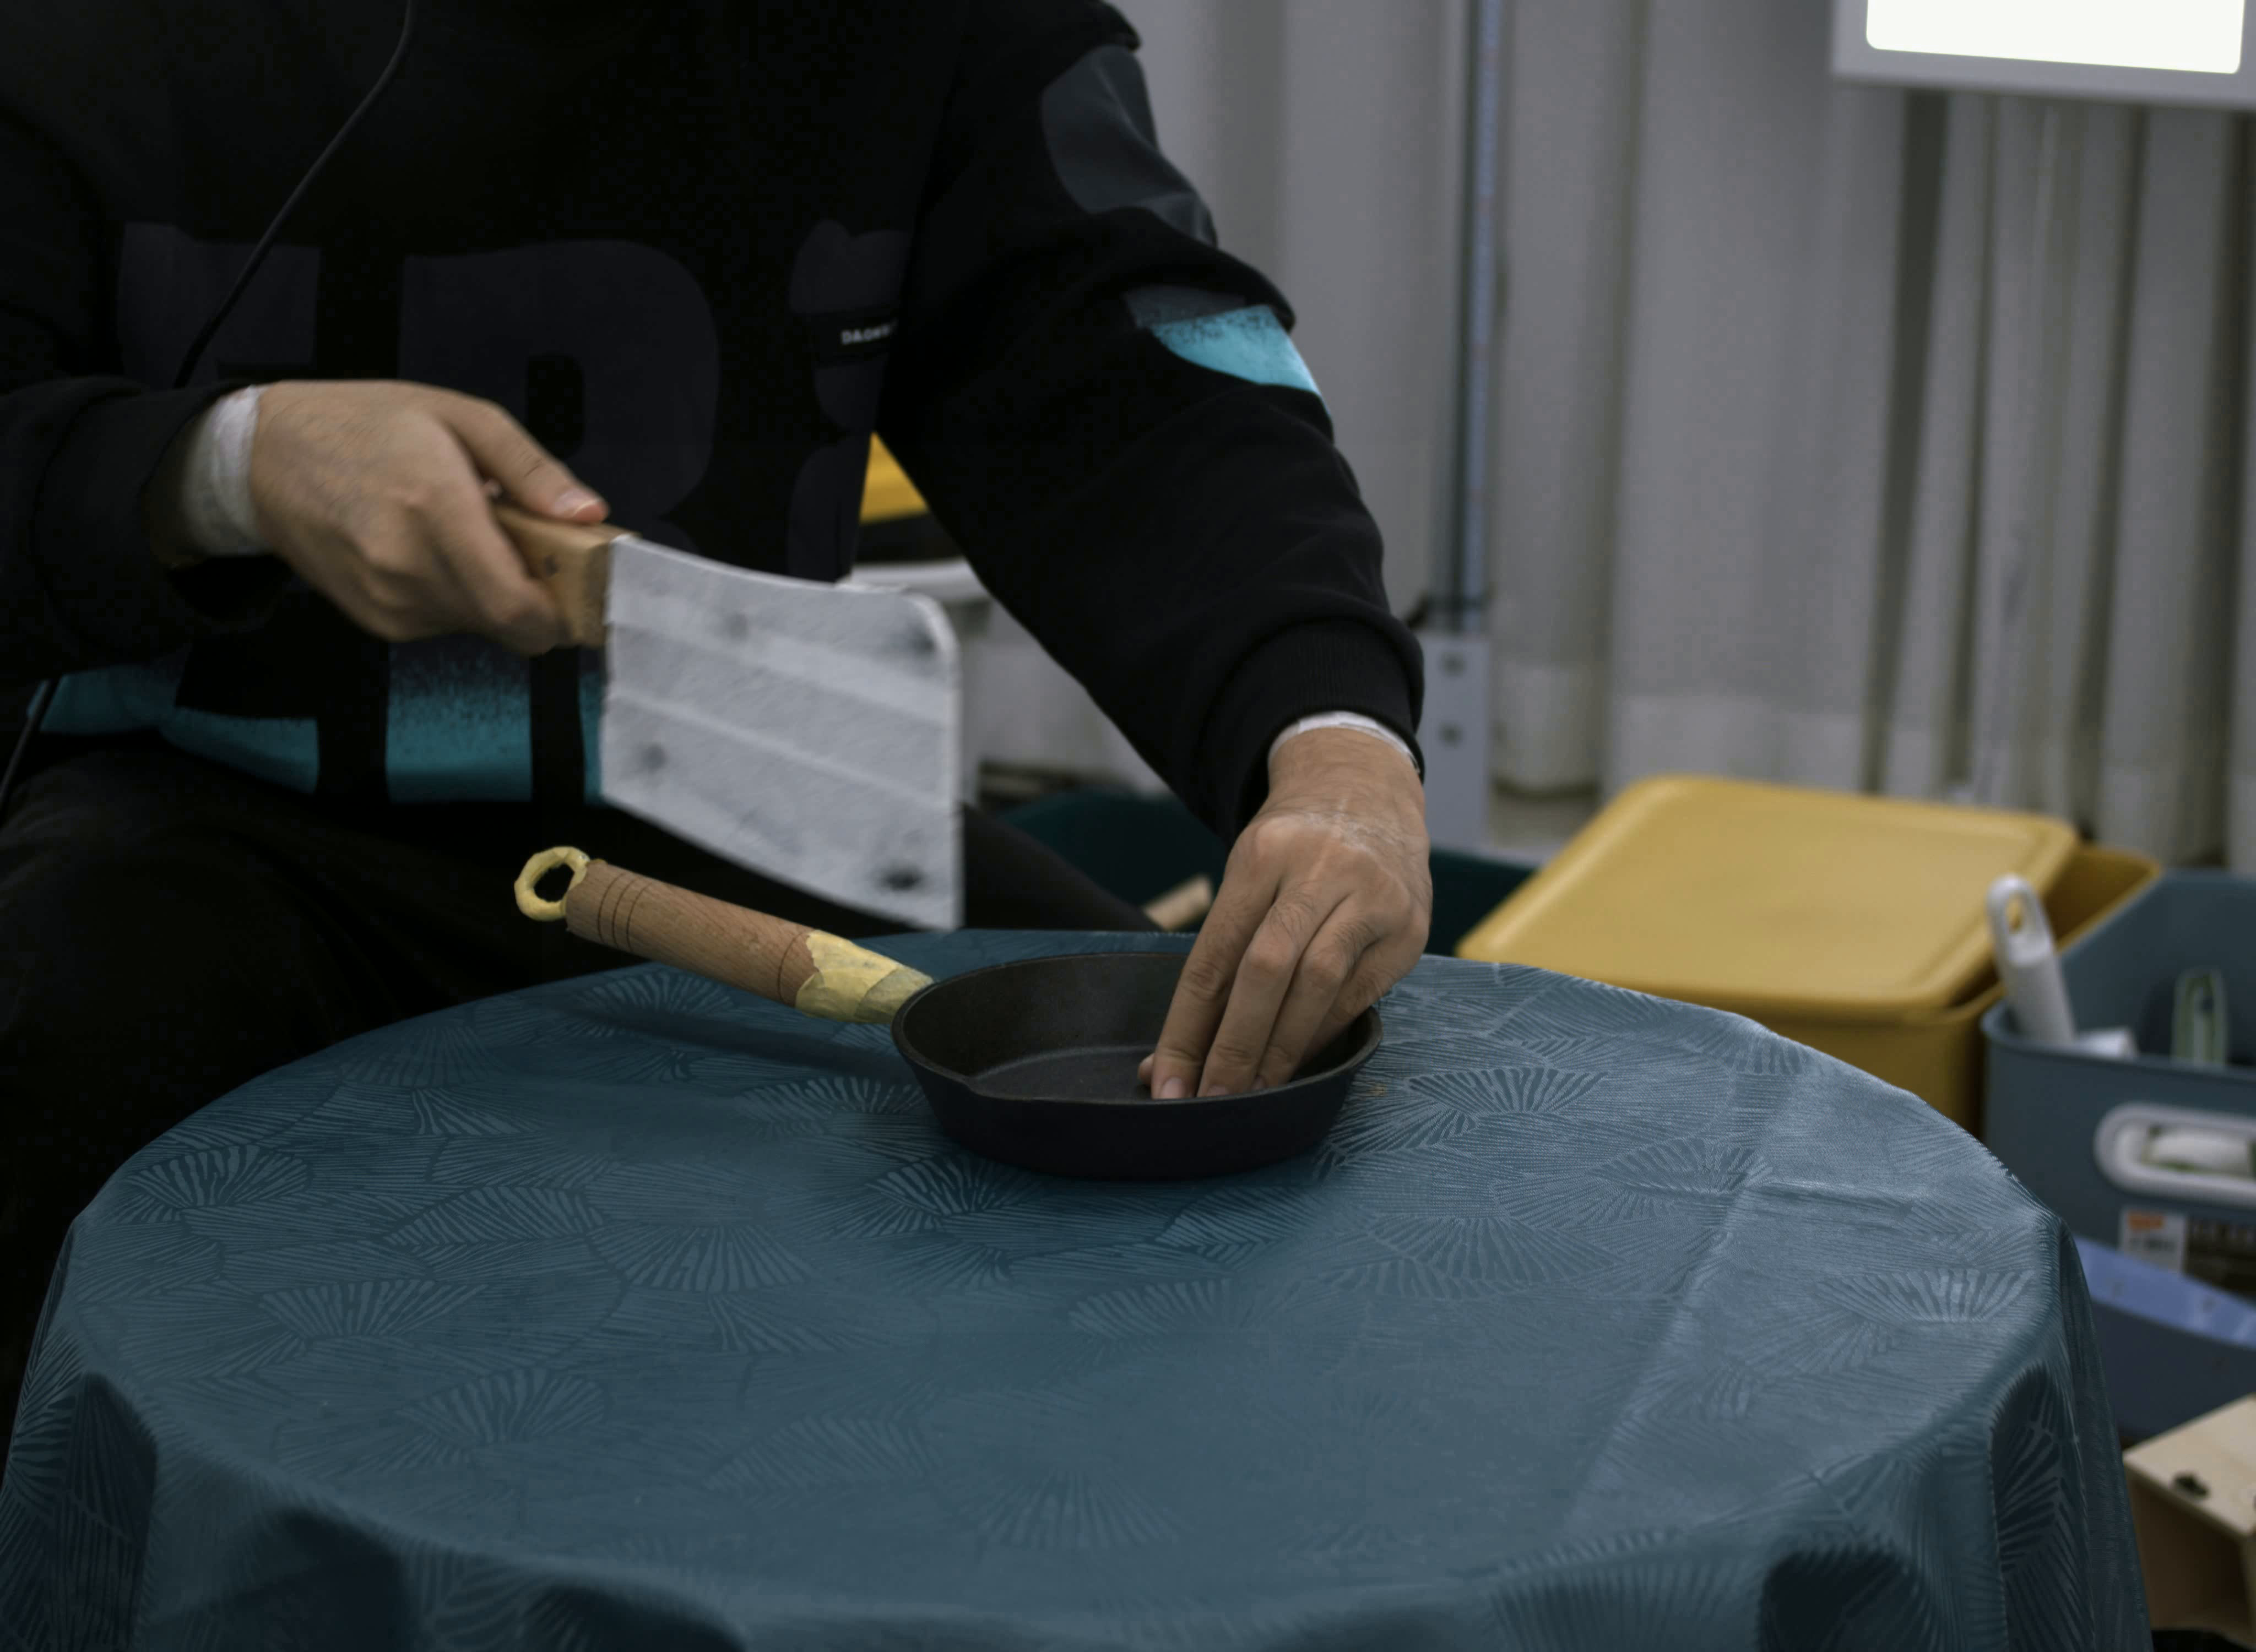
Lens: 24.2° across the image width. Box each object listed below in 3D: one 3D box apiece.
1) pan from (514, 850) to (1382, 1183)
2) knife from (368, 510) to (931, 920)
[{"bbox_3d":[-0.068,0.058,1.723,0.320,0.050,0.169,11,20,30],"label":"pan"},{"bbox_3d":[-0.149,-0.051,1.630,0.022,0.115,0.311,-8,21,-38],"label":"knife"}]
